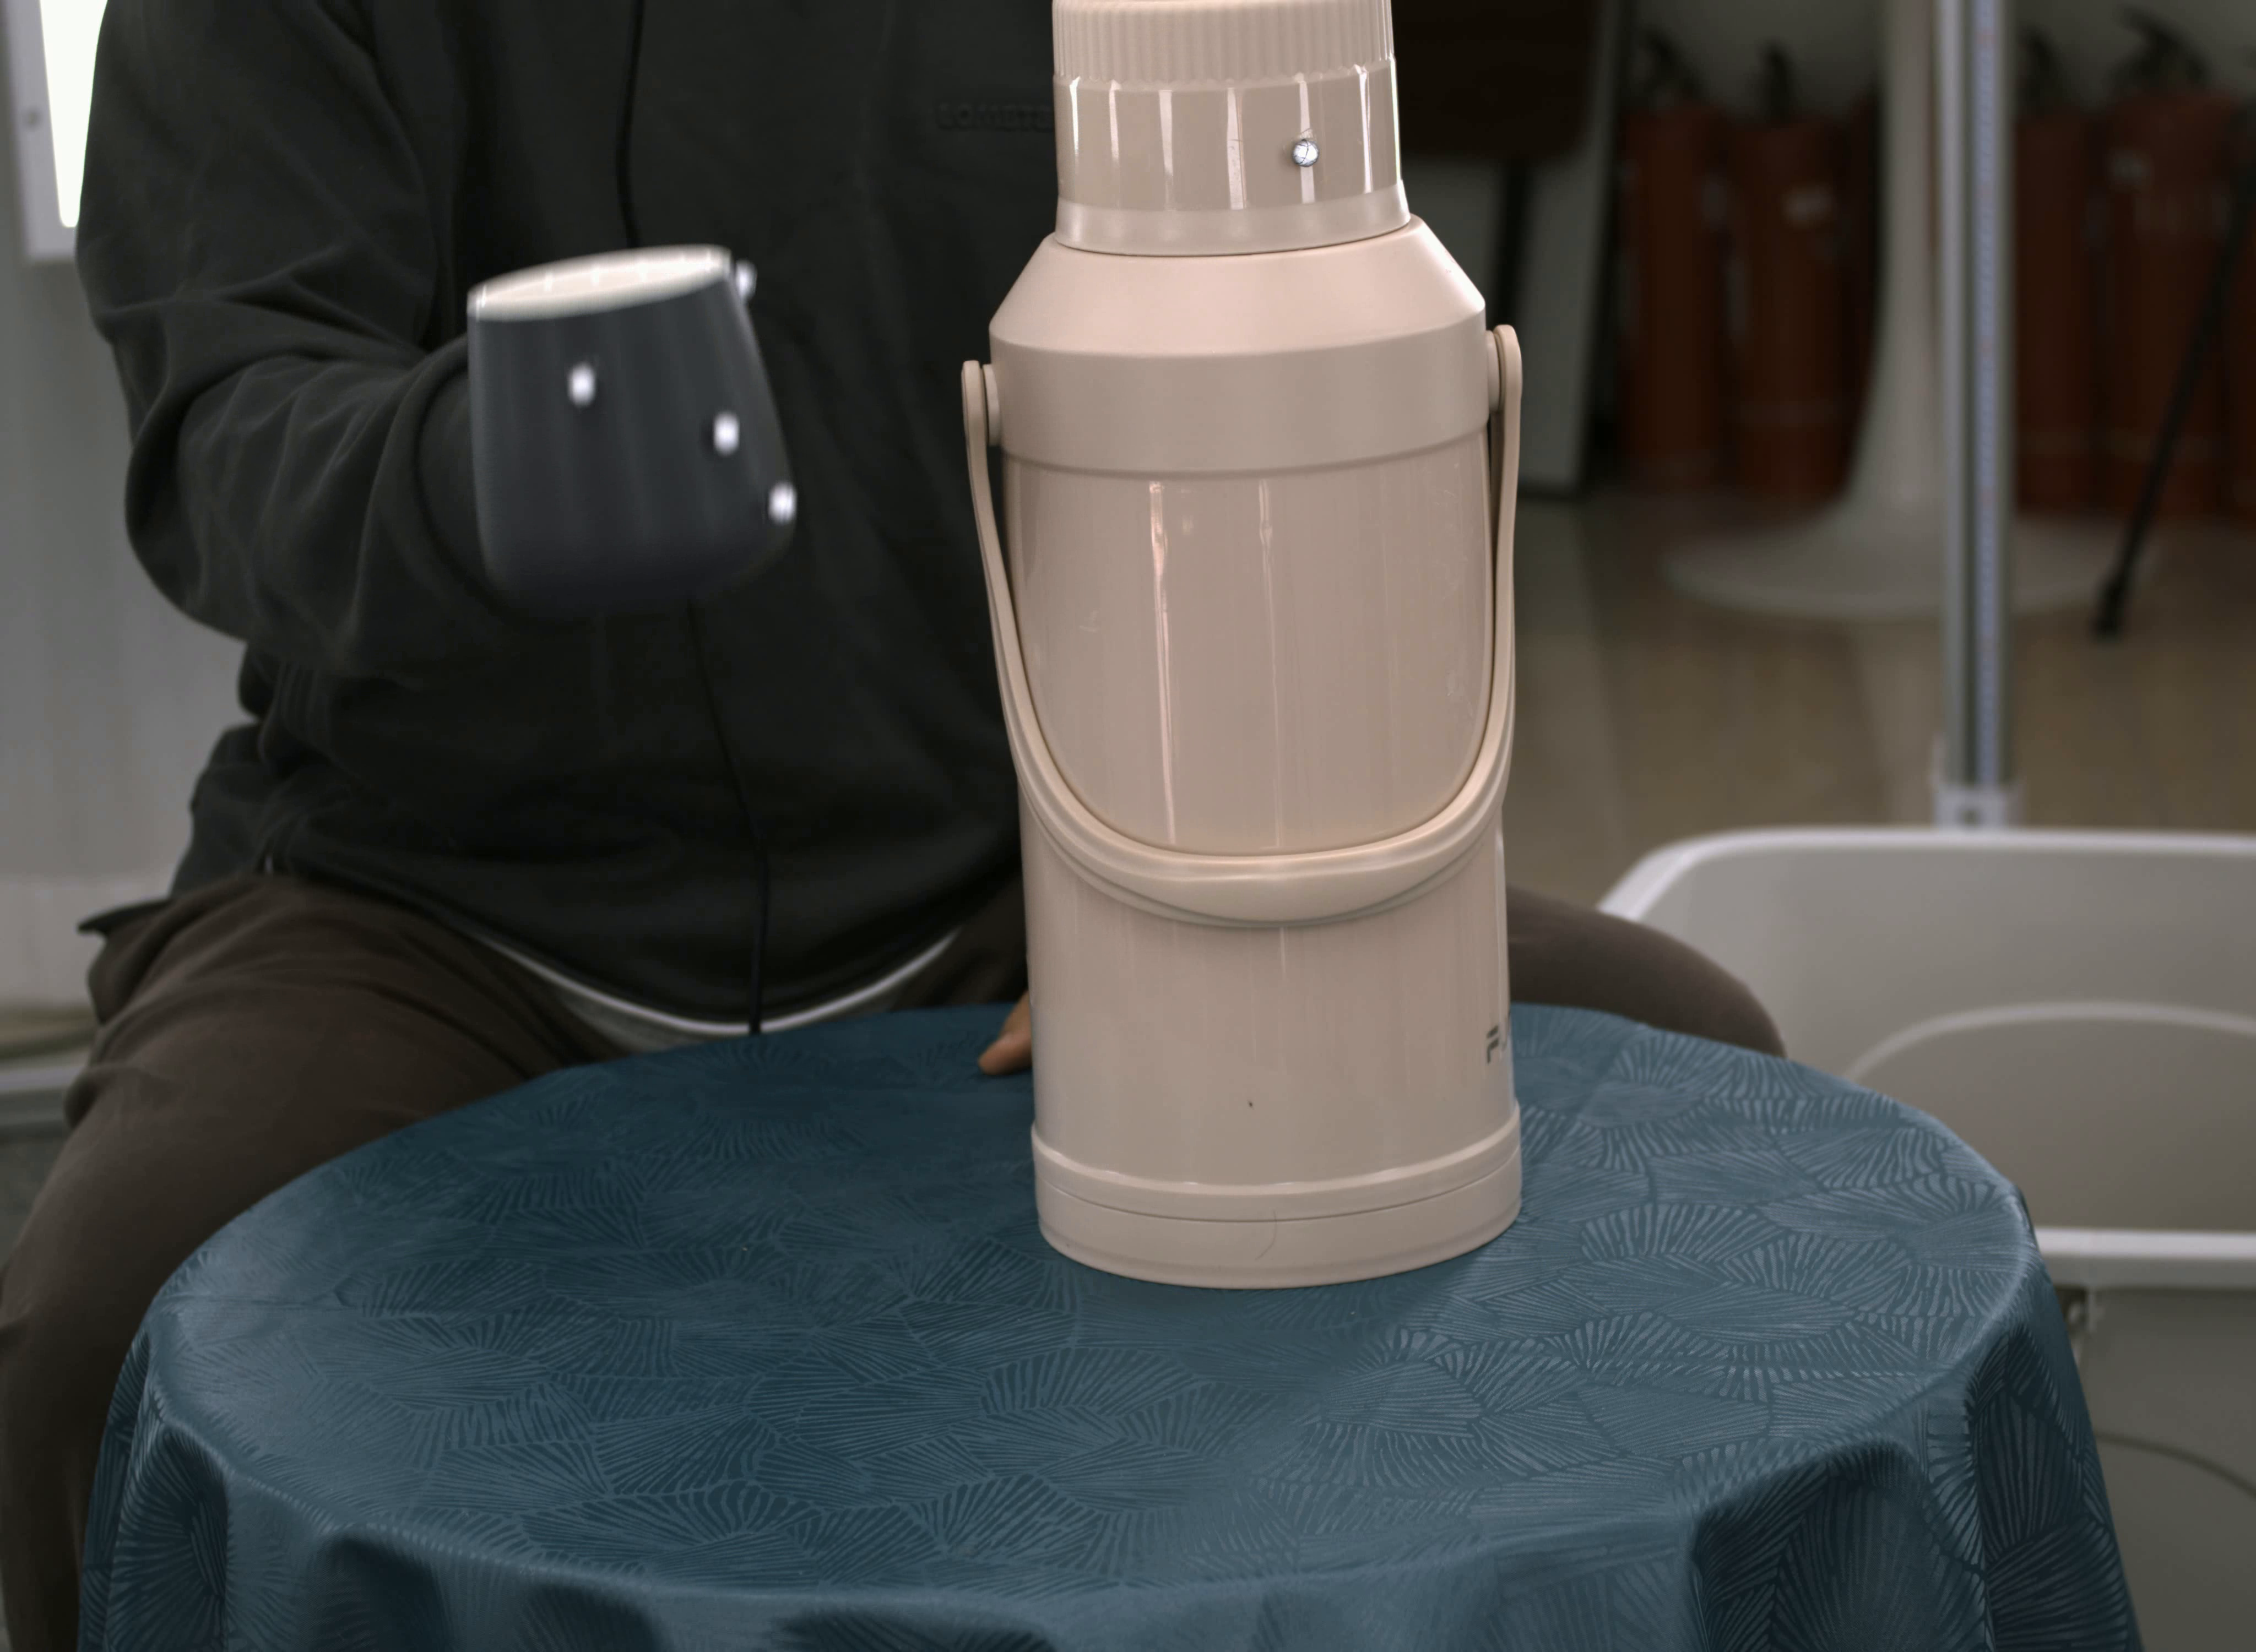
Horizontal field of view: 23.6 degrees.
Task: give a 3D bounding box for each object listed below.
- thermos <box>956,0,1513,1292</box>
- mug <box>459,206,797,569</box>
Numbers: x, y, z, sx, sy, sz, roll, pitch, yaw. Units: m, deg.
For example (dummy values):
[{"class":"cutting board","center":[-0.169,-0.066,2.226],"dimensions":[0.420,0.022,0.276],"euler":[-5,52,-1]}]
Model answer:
[{"class":"thermos","center":[0.036,-0.072,1.713],"dimensions":[0.173,0.411,0.208],"euler":[-5,14,-4]},{"class":"mug","center":[-0.145,-0.130,1.581],"dimensions":[0.093,0.091,0.123],"euler":[-8,13,9]}]
